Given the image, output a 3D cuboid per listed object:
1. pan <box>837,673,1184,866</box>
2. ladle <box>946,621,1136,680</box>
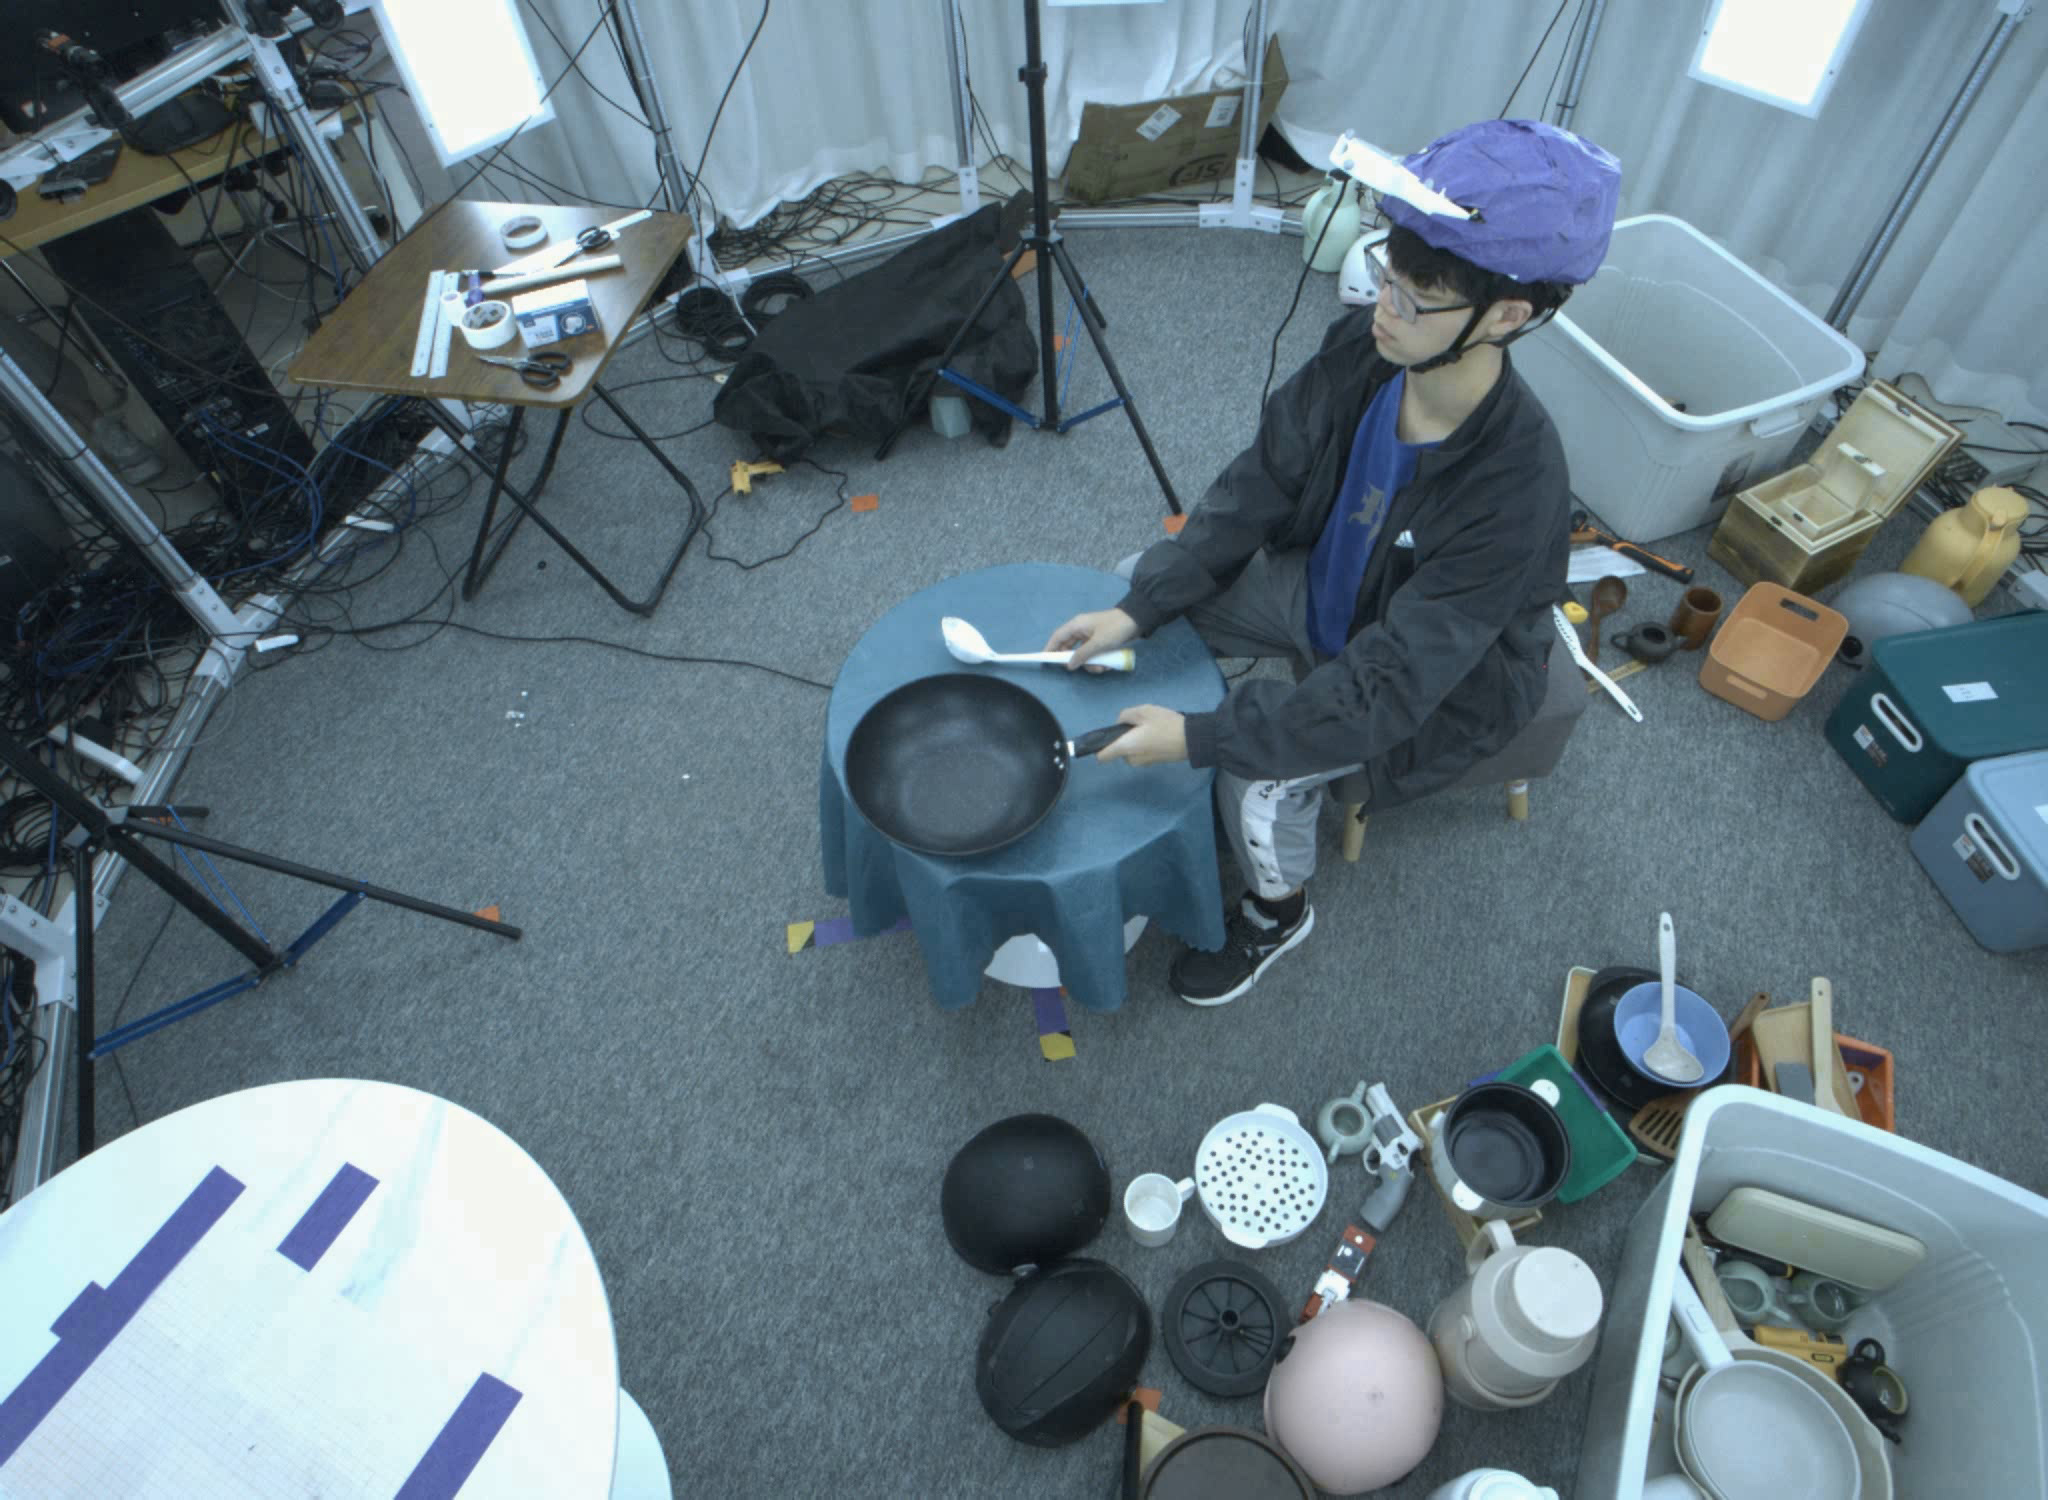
[{"bbox_3d":[-0.016,0.021,1.699,0.479,0.112,0.306,-8,57,-6],"label":"pan"},{"bbox_3d":[0.024,-0.151,1.848,0.291,0.070,0.090,5,14,10],"label":"ladle"}]
